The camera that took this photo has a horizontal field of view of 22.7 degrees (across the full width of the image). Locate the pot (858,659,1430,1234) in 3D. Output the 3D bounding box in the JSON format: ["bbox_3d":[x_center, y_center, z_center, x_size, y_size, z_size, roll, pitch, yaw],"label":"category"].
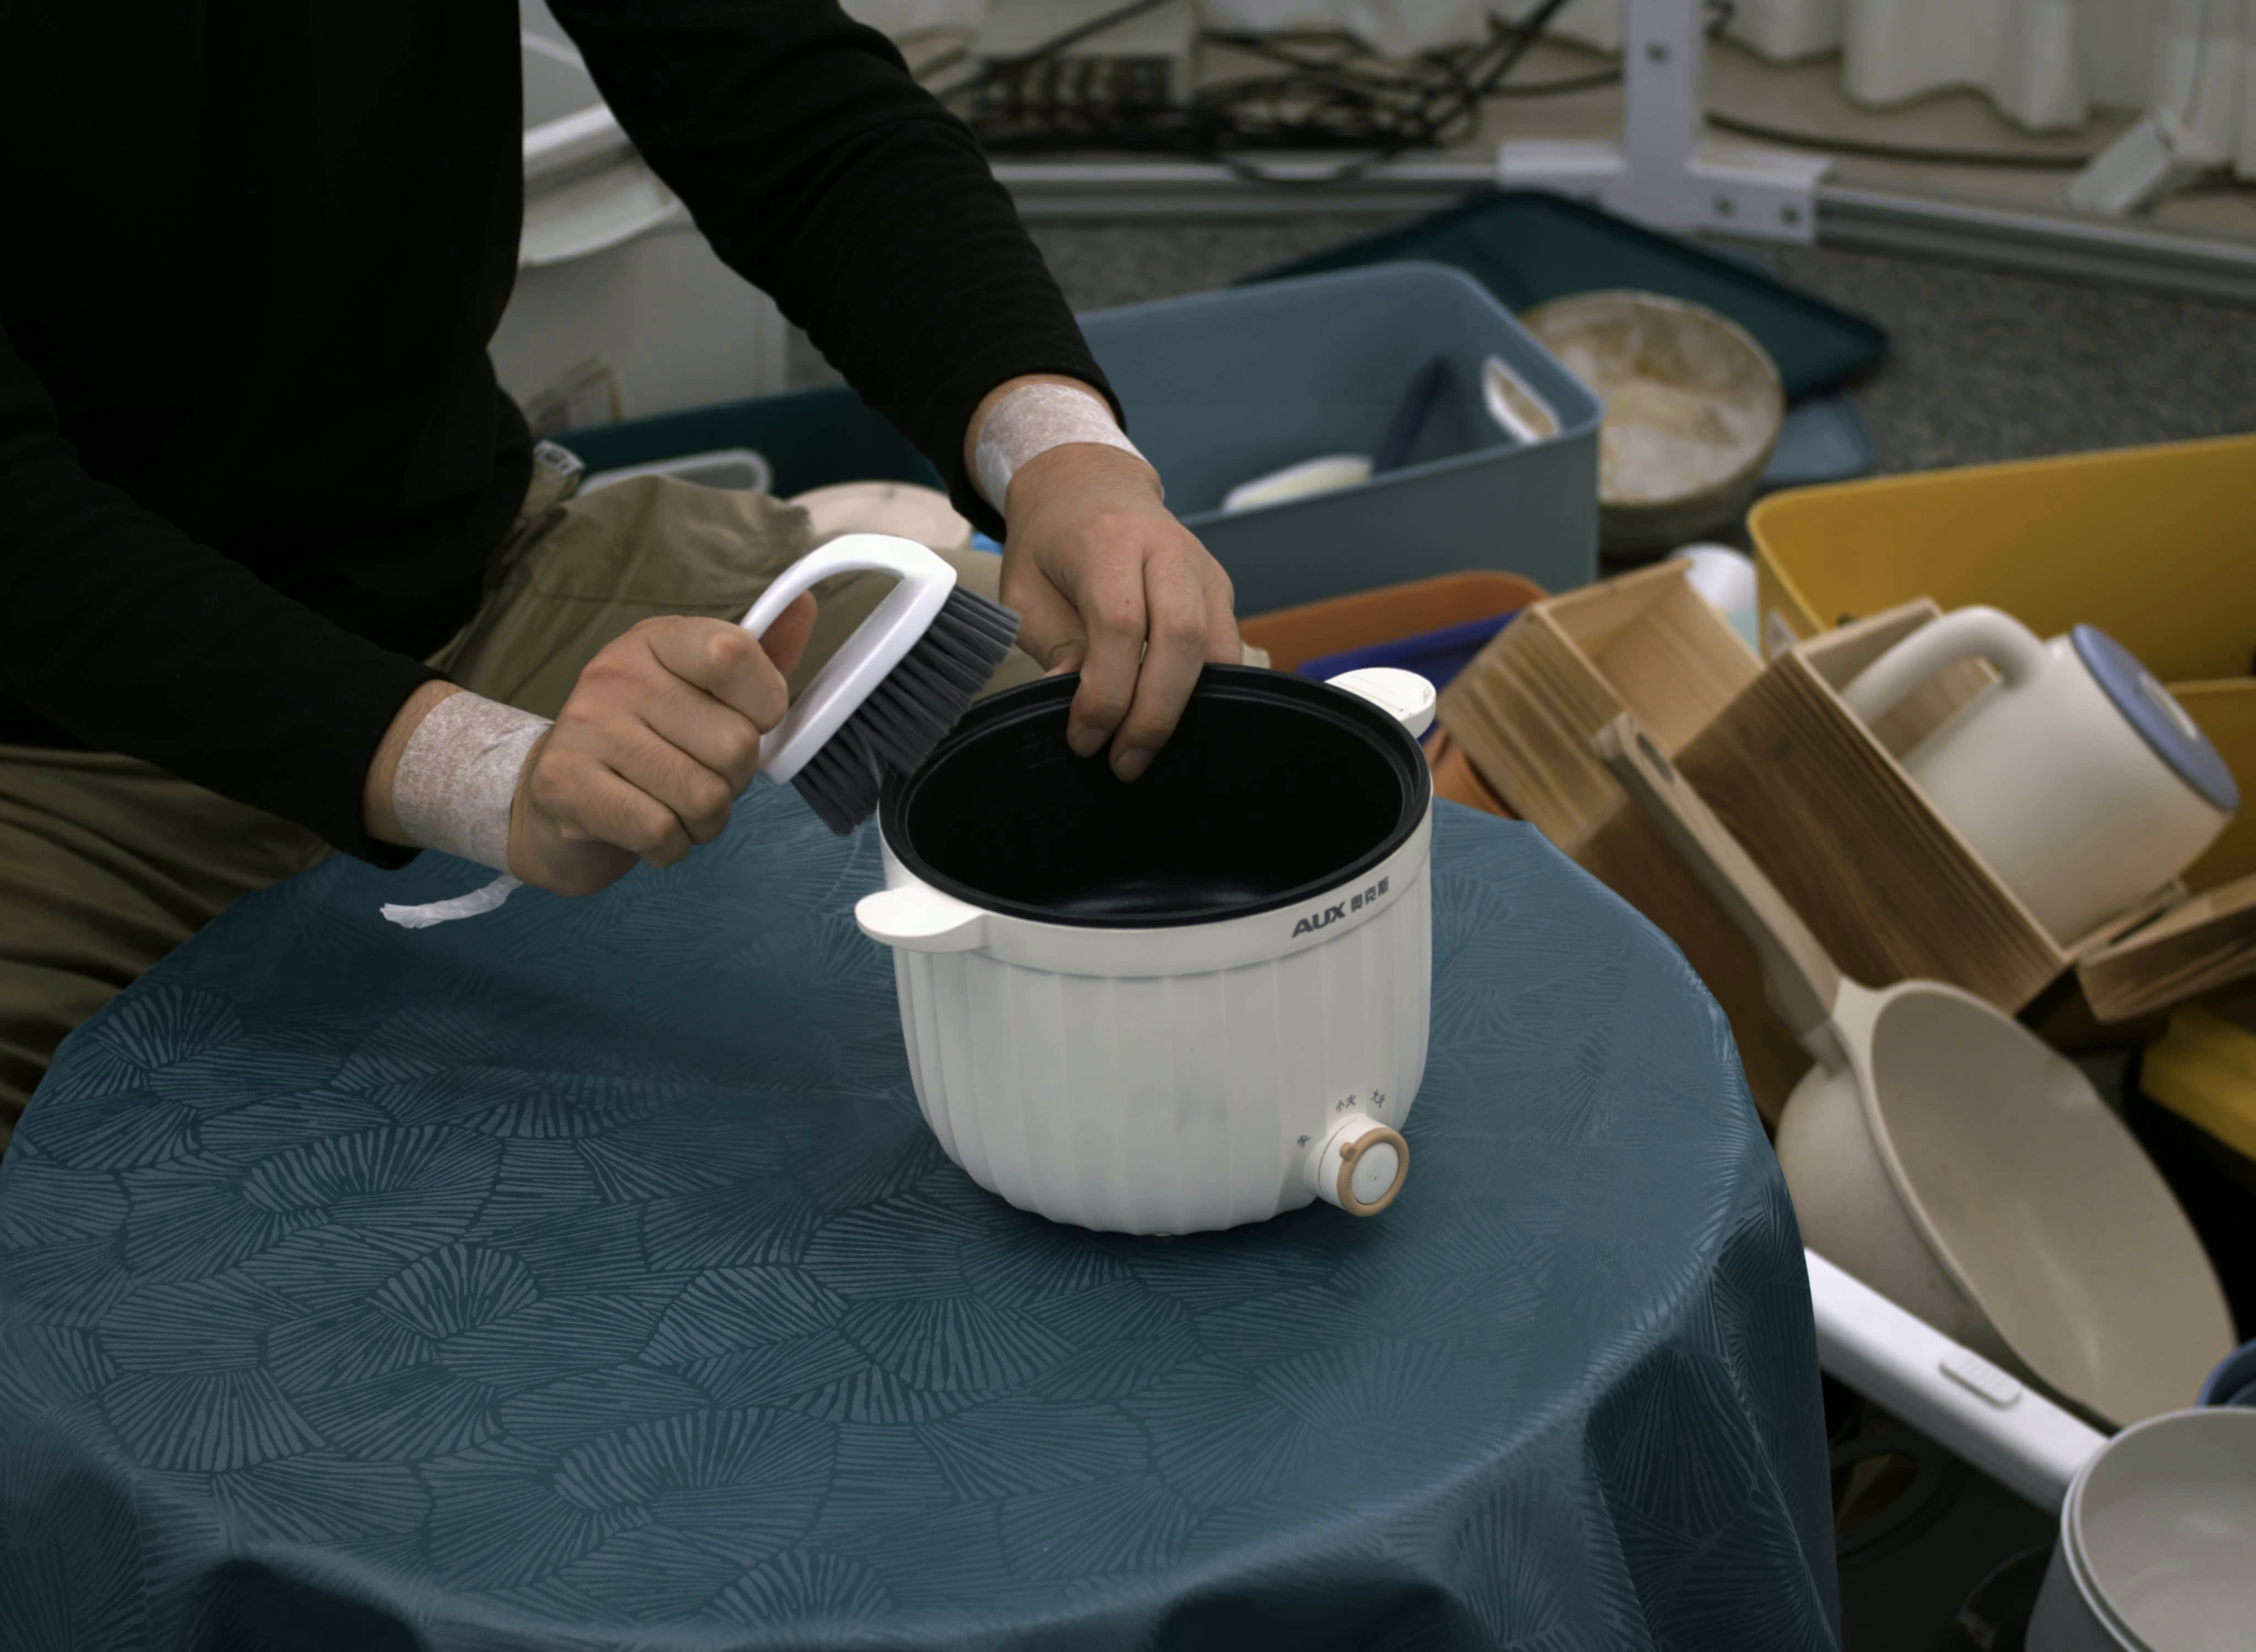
[{"bbox_3d":[0.016,0.046,1.858,0.243,0.141,0.190,-26,32,-35],"label":"pot"}]

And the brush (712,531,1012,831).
[{"bbox_3d":[-0.095,-0.054,1.863,0.072,0.098,0.051,37,25,-14],"label":"brush"}]
